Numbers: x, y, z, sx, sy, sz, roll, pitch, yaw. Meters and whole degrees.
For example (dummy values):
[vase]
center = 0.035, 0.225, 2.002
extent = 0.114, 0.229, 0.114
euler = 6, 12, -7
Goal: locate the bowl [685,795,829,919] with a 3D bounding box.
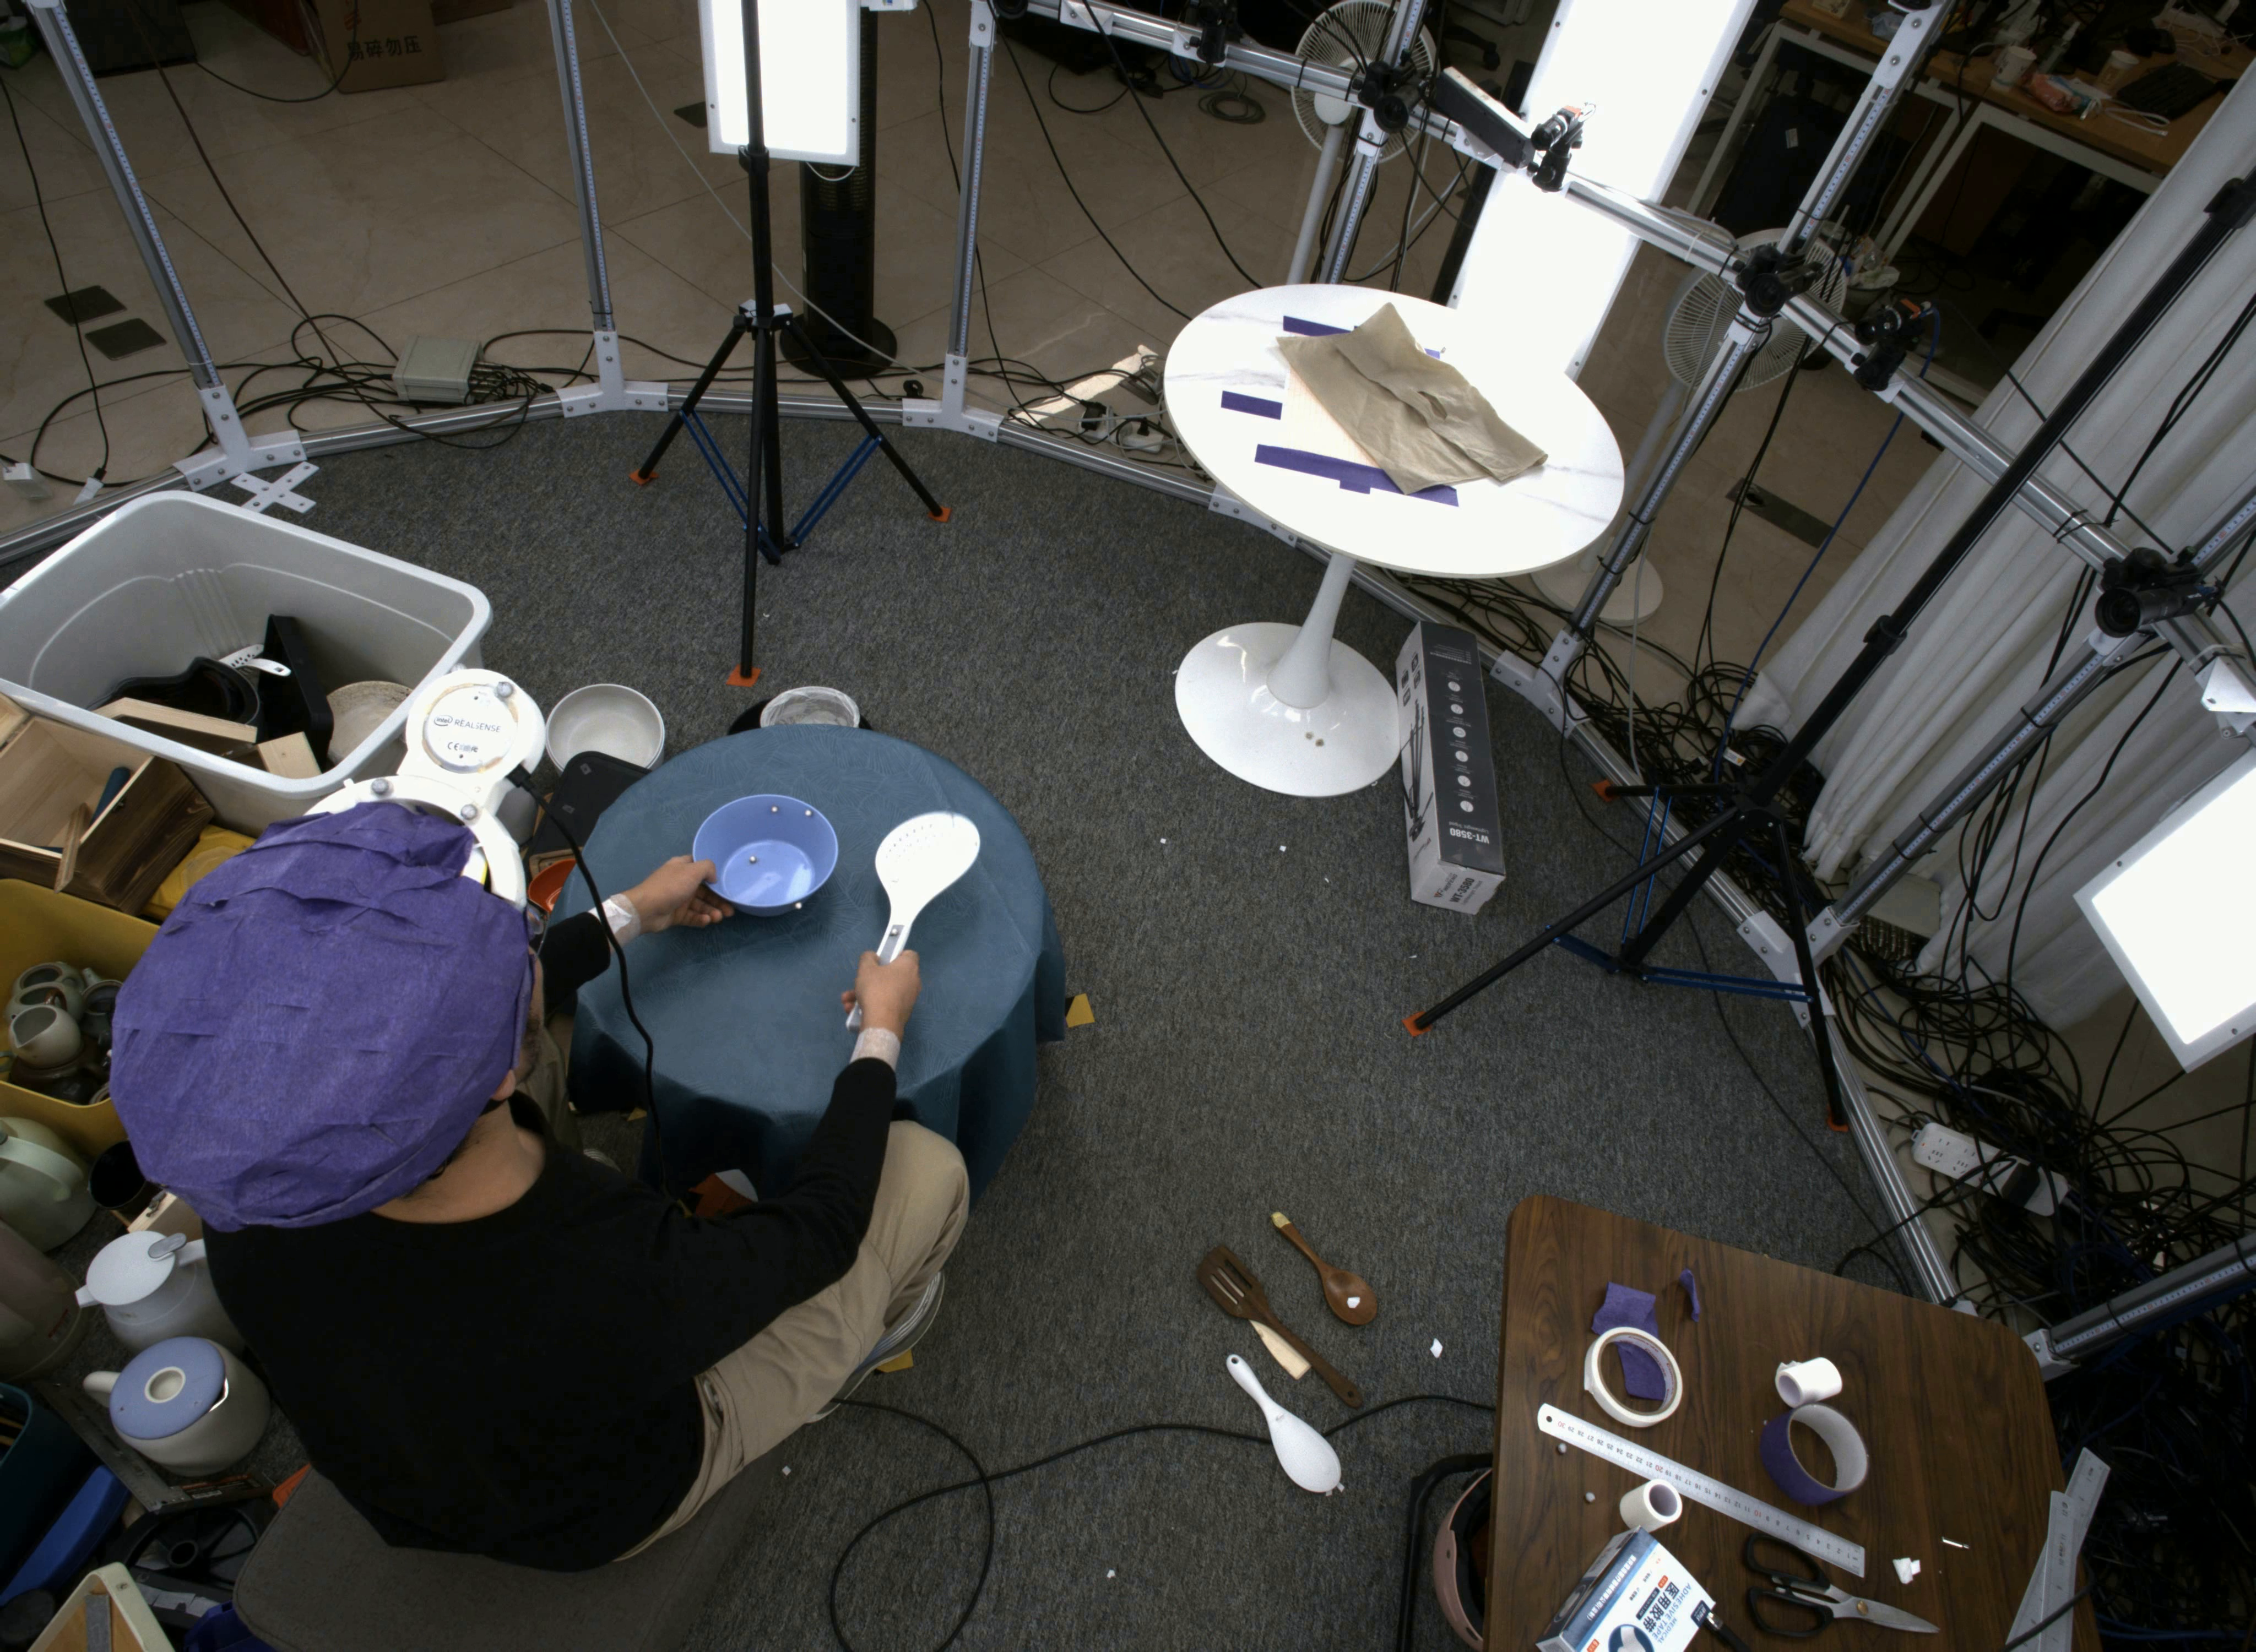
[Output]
[bowl]
center = -0.464, 0.048, 1.627
extent = 0.175, 0.072, 0.173
euler = 7, 53, -8

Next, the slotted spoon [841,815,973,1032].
[slotted spoon]
center = -0.281, 0.109, 1.590
extent = 0.133, 0.047, 0.344
euler = 3, 39, 10
